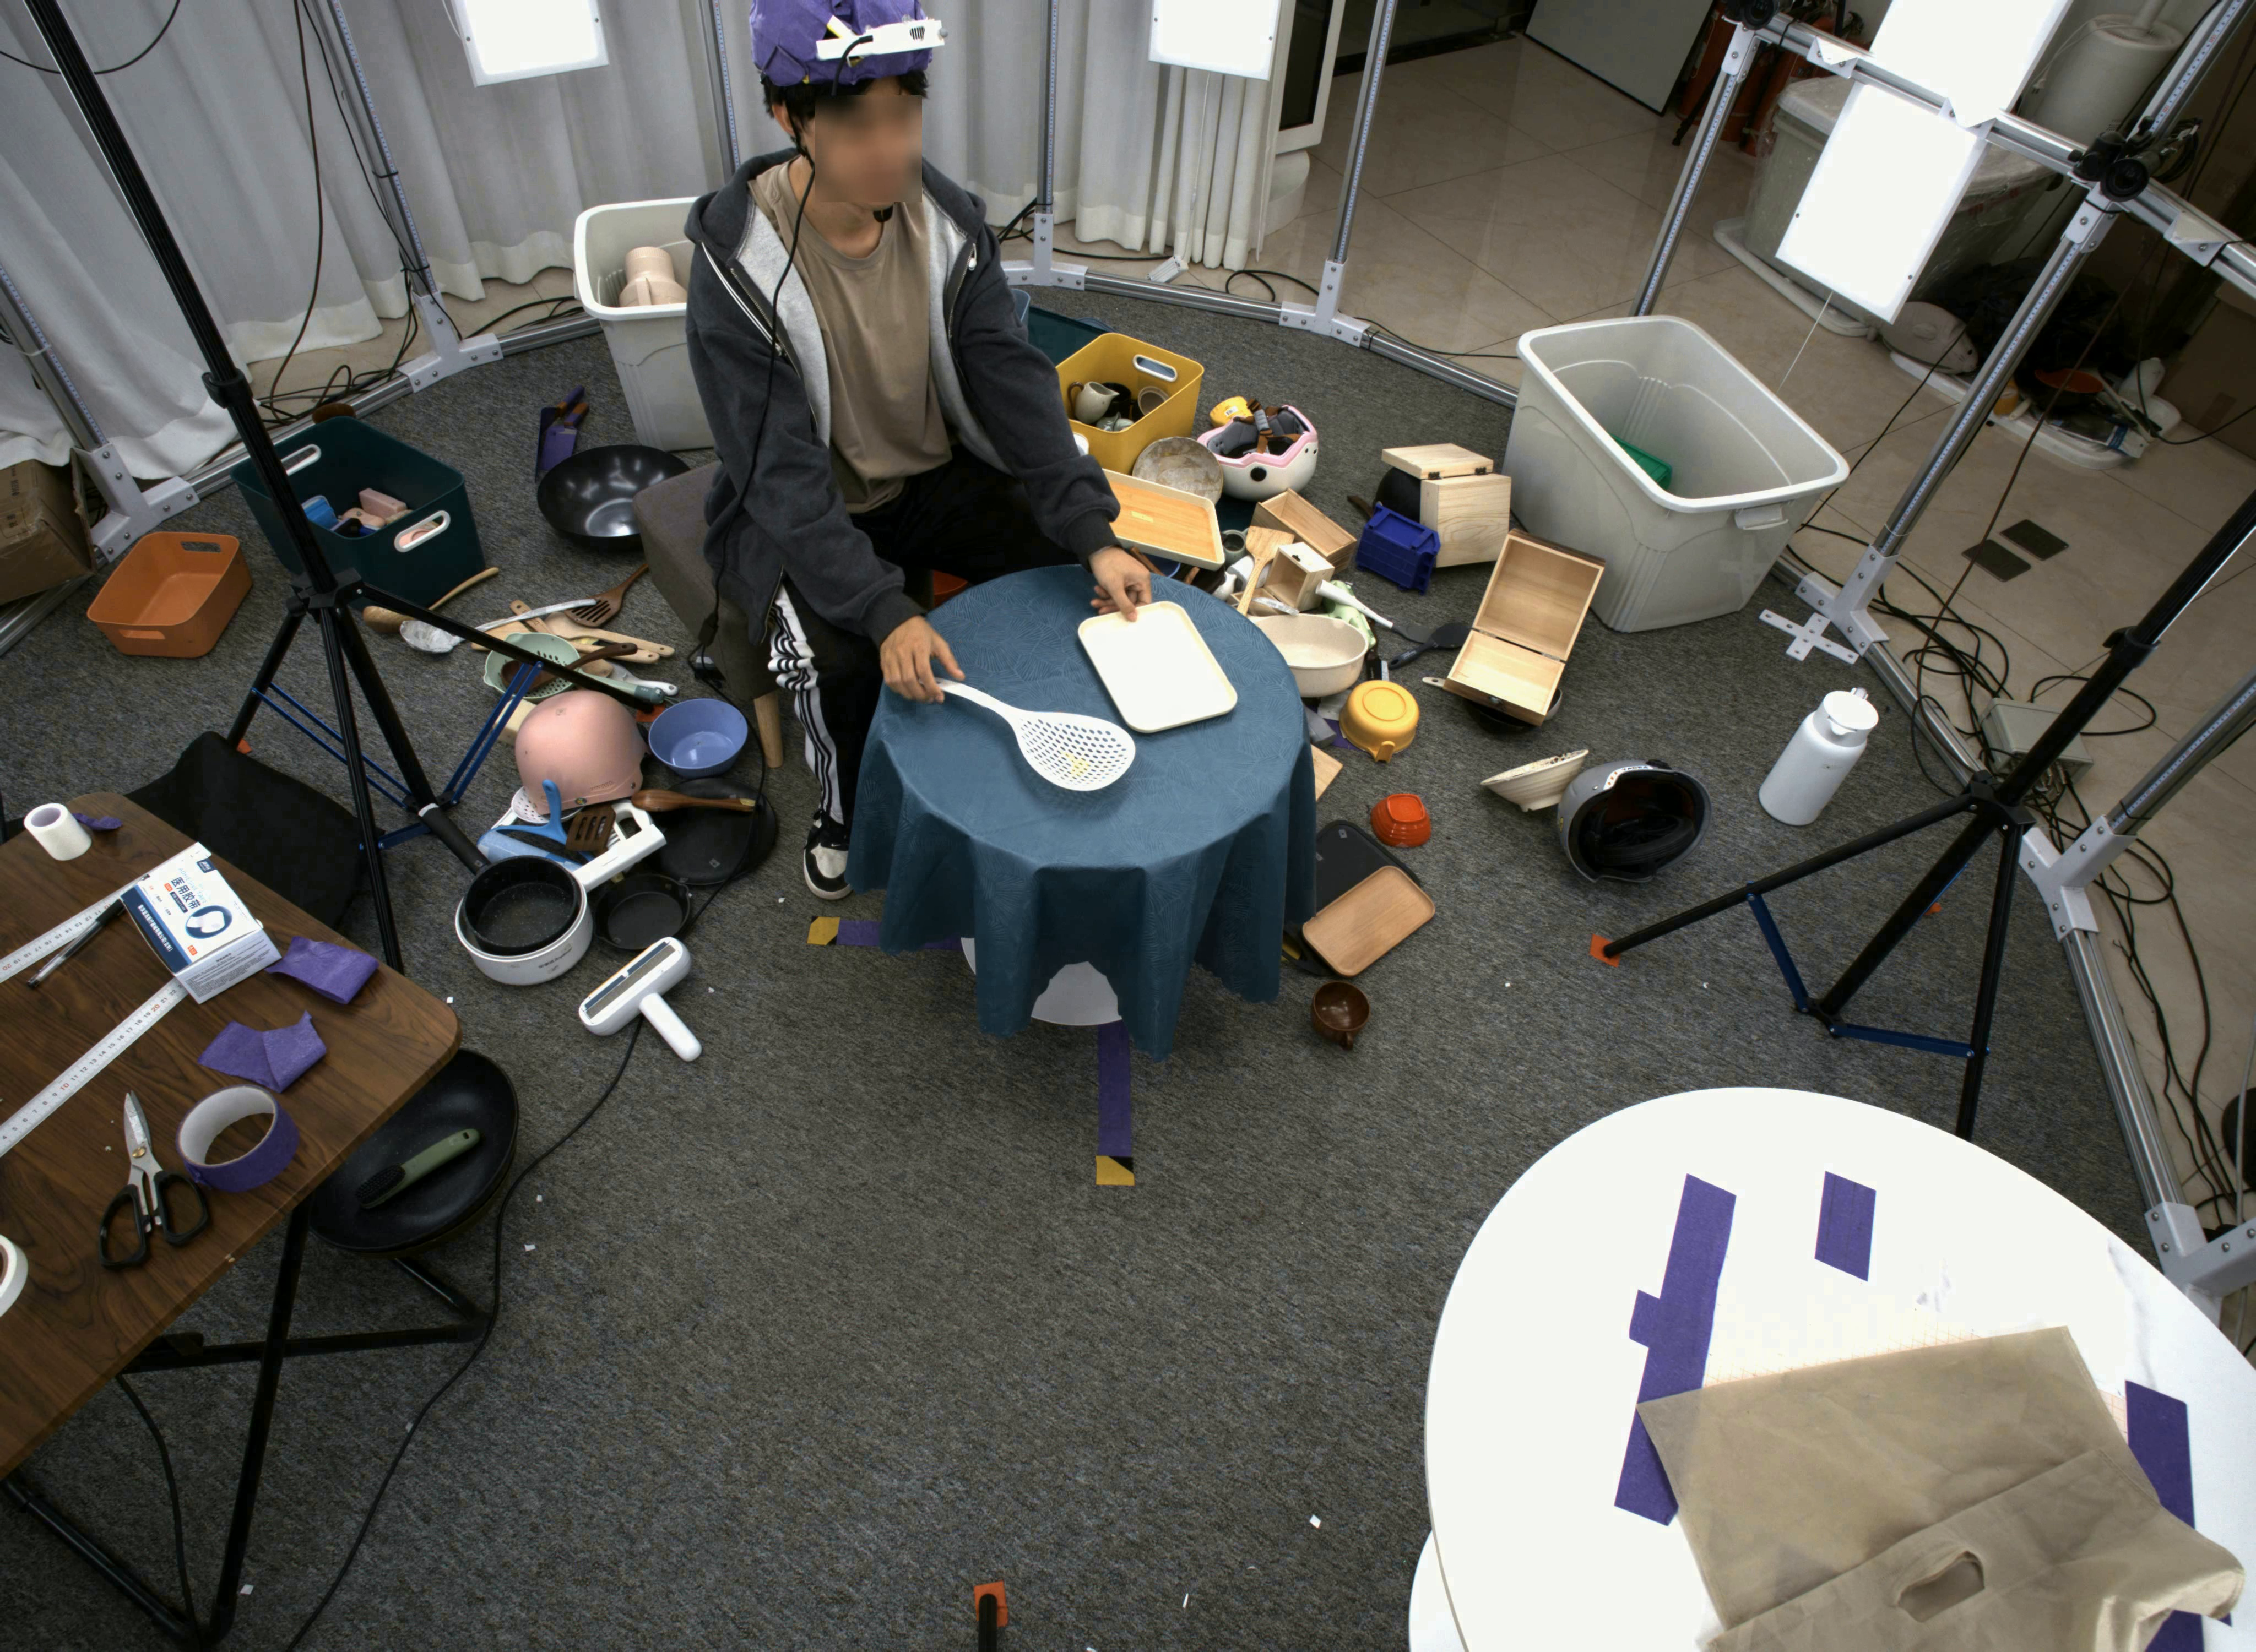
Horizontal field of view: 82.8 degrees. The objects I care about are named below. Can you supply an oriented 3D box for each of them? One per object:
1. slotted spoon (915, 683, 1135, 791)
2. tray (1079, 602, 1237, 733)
[{"bbox_3d":[-0.150,-0.139,1.751,0.351,0.049,0.139,29,57,21],"label":"slotted spoon"},{"bbox_3d":[0.041,-0.232,1.858,0.171,0.017,0.245,-16,52,-16],"label":"tray"}]
